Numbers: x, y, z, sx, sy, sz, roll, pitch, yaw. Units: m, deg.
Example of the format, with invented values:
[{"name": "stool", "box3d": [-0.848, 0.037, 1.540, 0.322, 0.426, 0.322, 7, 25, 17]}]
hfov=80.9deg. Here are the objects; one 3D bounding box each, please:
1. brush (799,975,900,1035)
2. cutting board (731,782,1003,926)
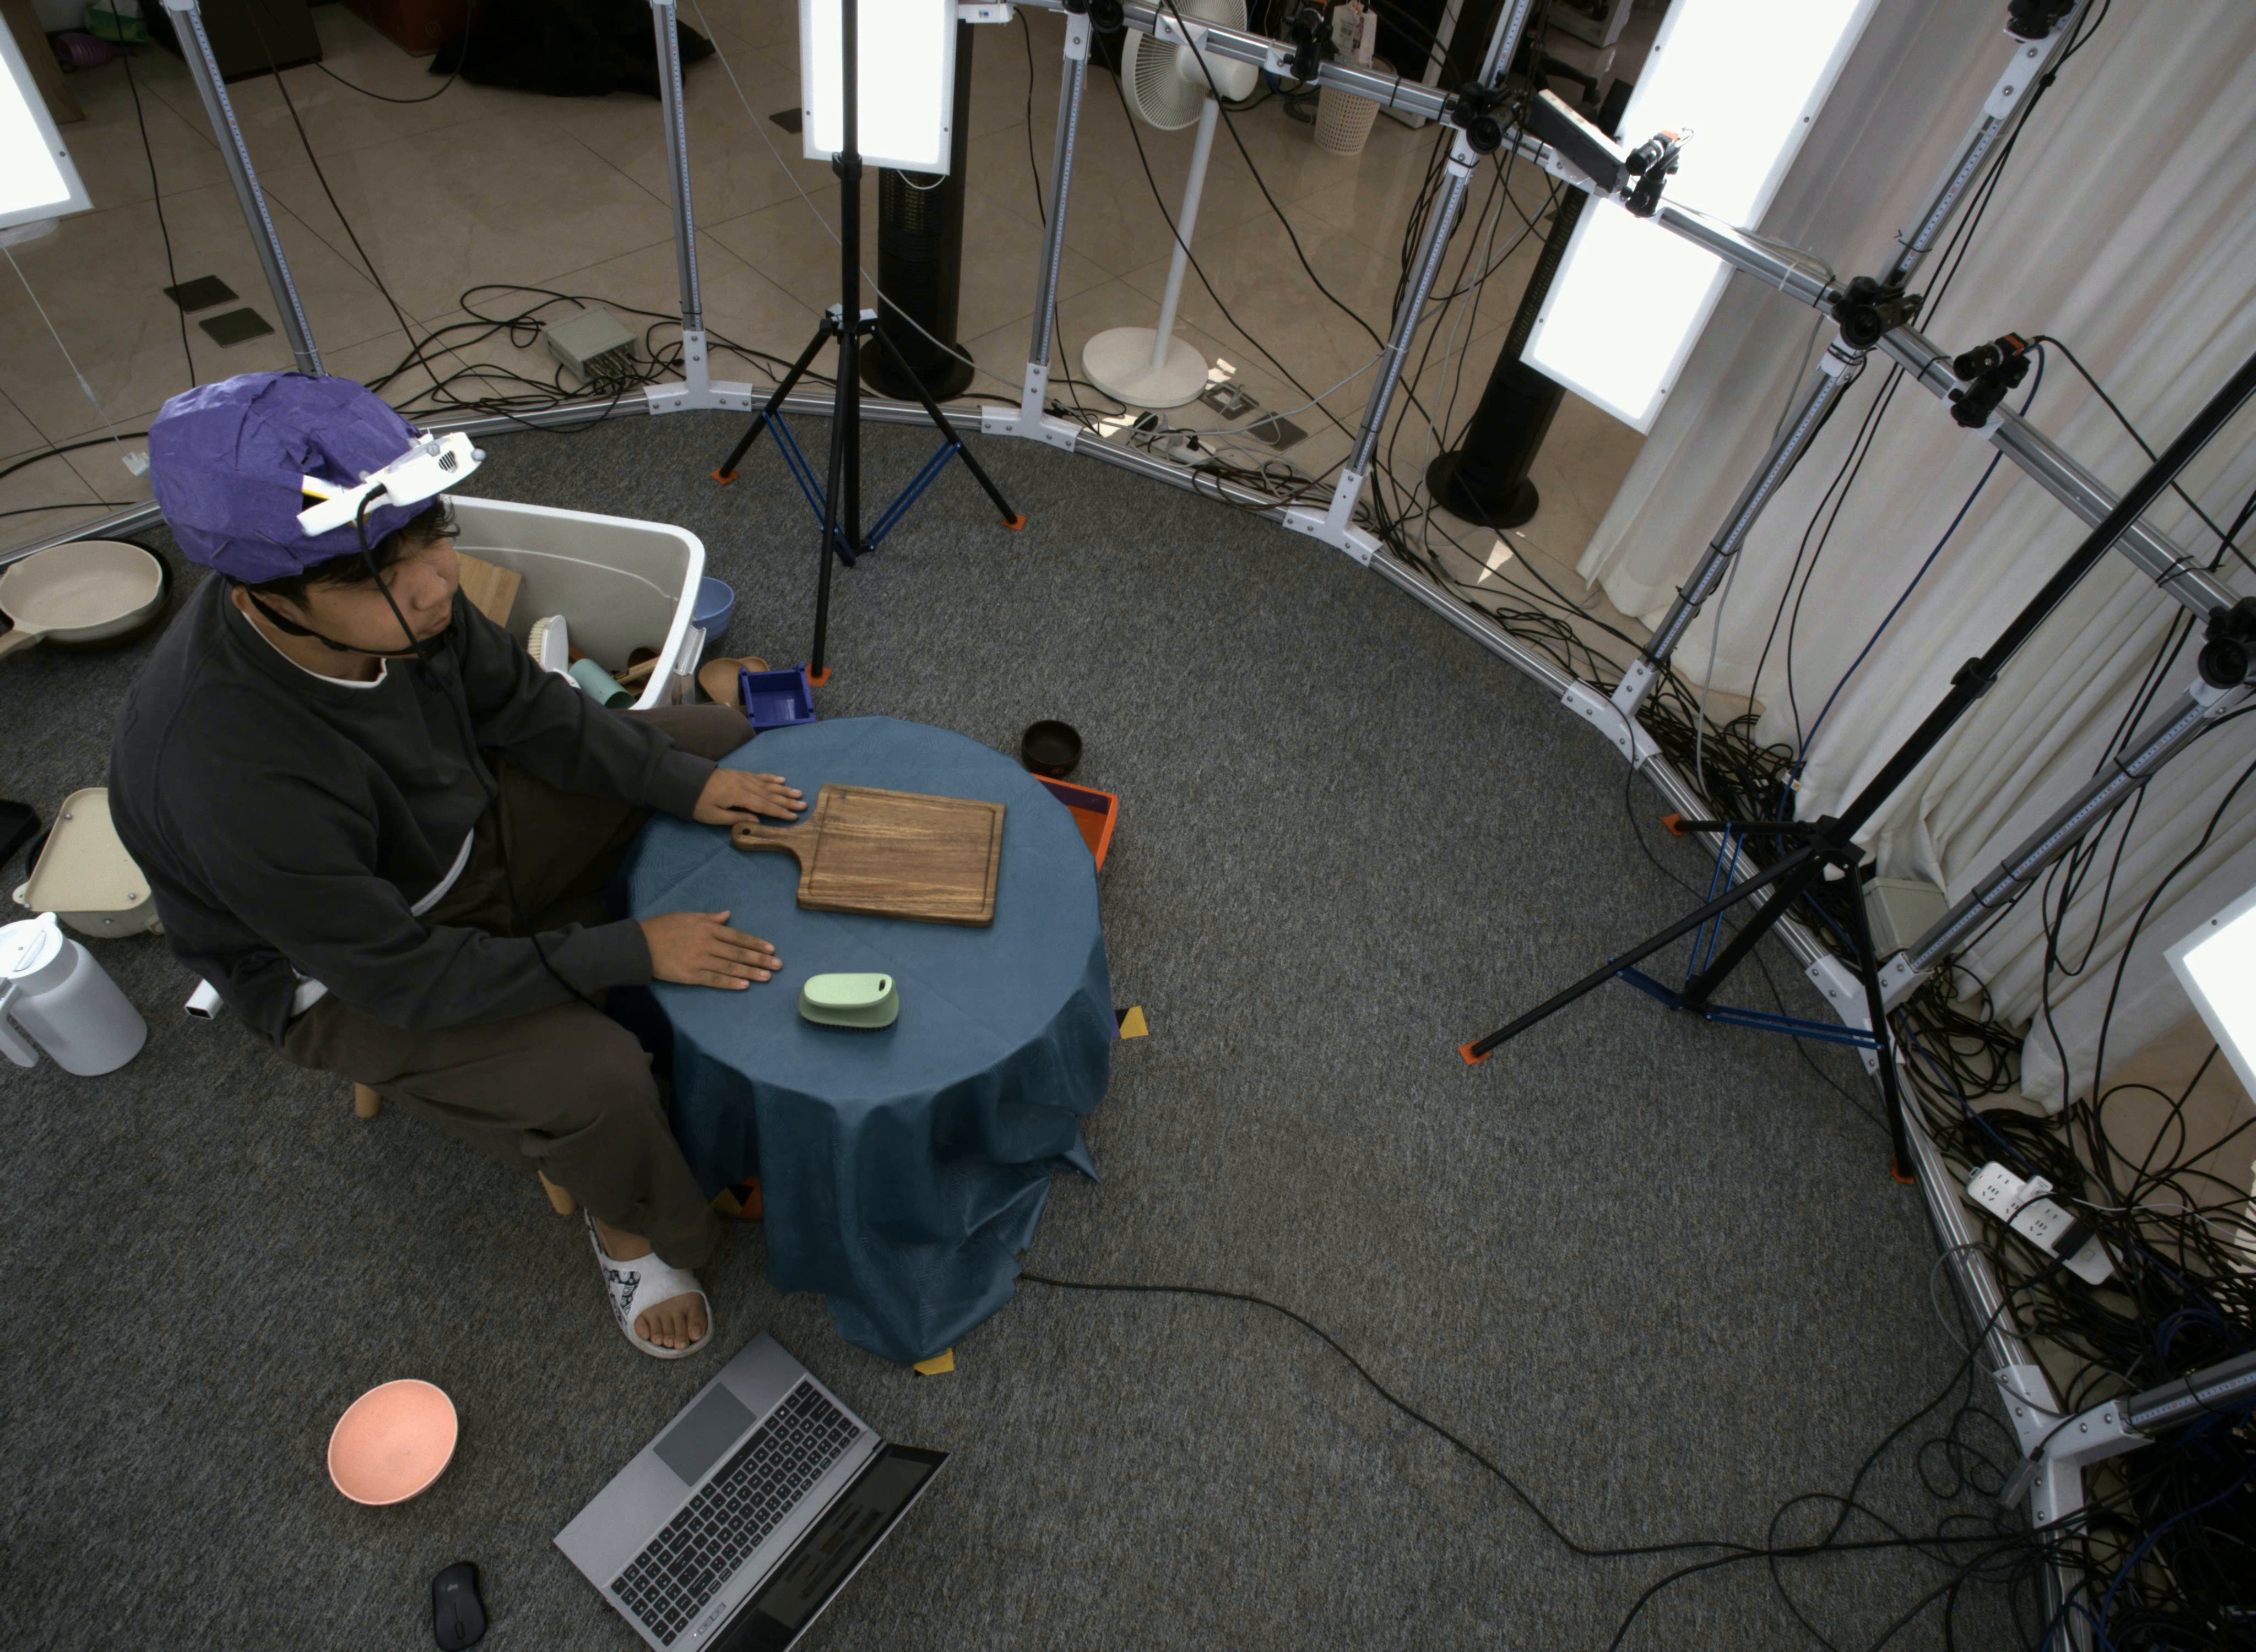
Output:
[{"name": "brush", "box3d": [-0.331, 0.210, 1.552, 0.121, 0.078, 0.058, -4, 52, 2]}, {"name": "cutting board", "box3d": [-0.343, 0.028, 1.706, 0.351, 0.023, 0.197, 7, 52, -9]}]
